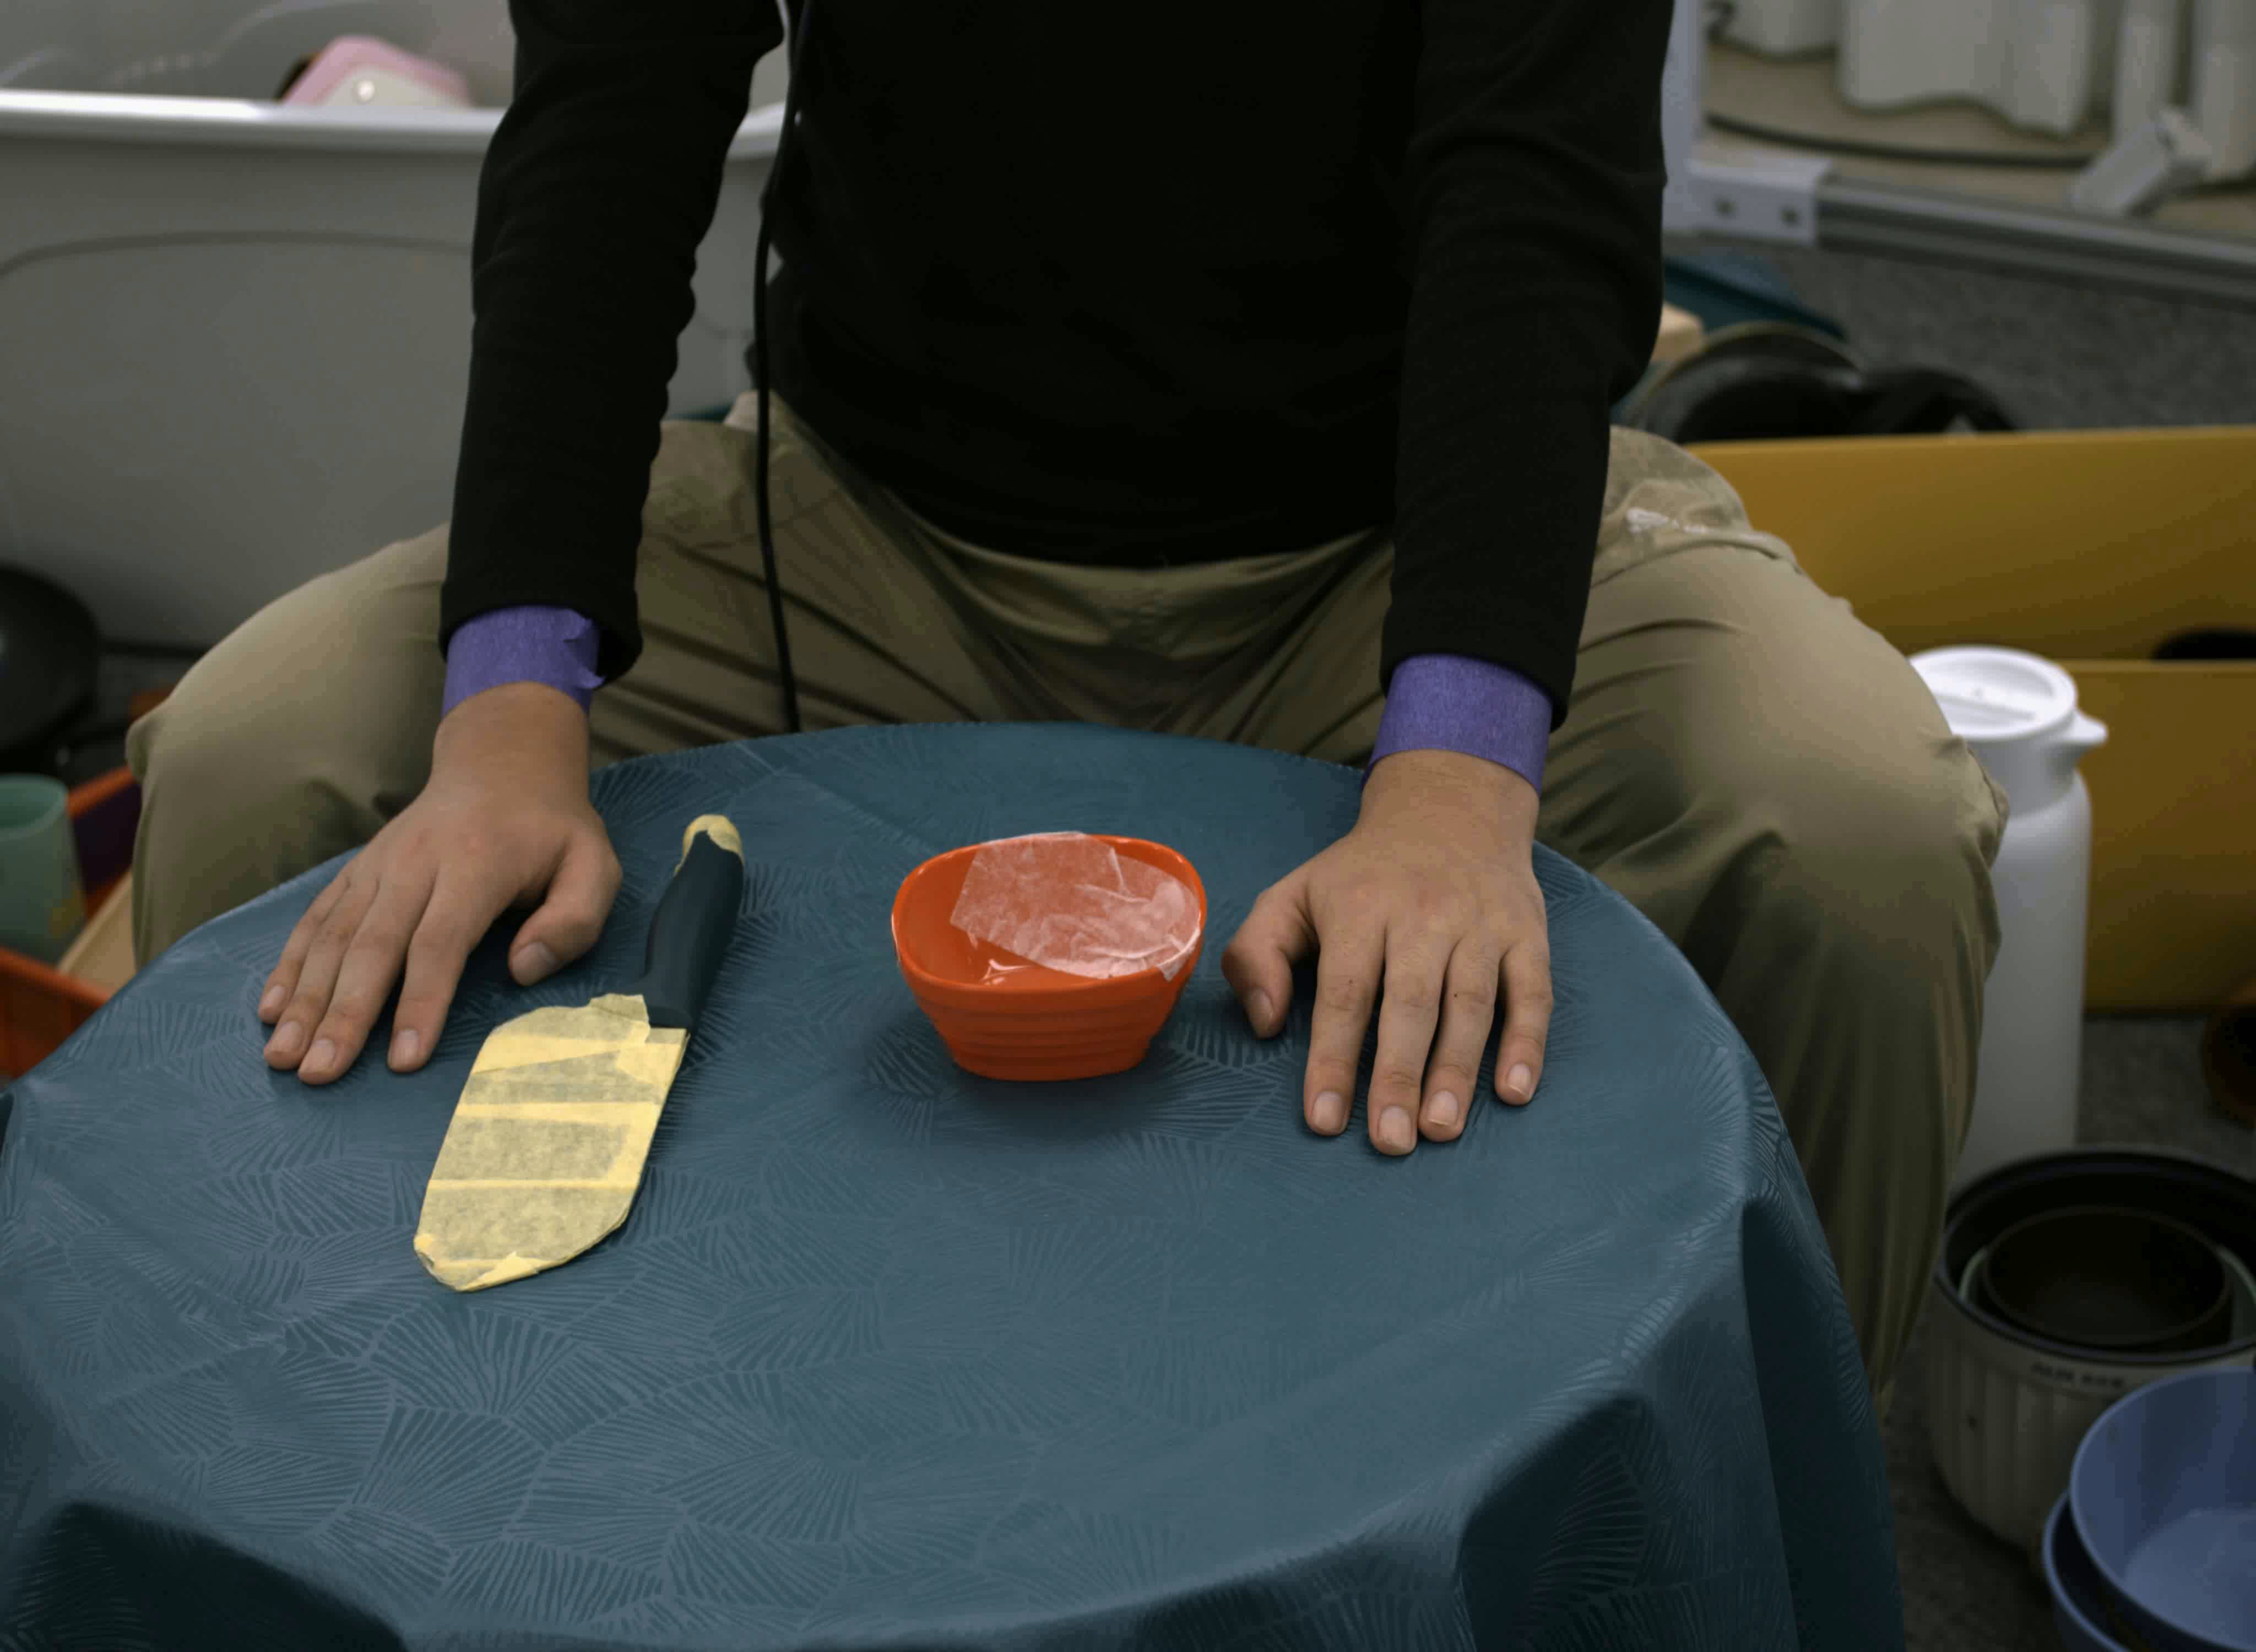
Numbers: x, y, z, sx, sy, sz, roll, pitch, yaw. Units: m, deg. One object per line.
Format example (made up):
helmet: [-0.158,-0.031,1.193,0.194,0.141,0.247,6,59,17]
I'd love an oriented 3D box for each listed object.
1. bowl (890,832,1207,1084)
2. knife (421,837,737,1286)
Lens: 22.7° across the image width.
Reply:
bowl: [-0.026,0.050,1.944,0.118,0.051,0.121,-4,28,2]
knife: [-0.186,0.080,1.943,0.080,0.027,0.294,4,29,9]
